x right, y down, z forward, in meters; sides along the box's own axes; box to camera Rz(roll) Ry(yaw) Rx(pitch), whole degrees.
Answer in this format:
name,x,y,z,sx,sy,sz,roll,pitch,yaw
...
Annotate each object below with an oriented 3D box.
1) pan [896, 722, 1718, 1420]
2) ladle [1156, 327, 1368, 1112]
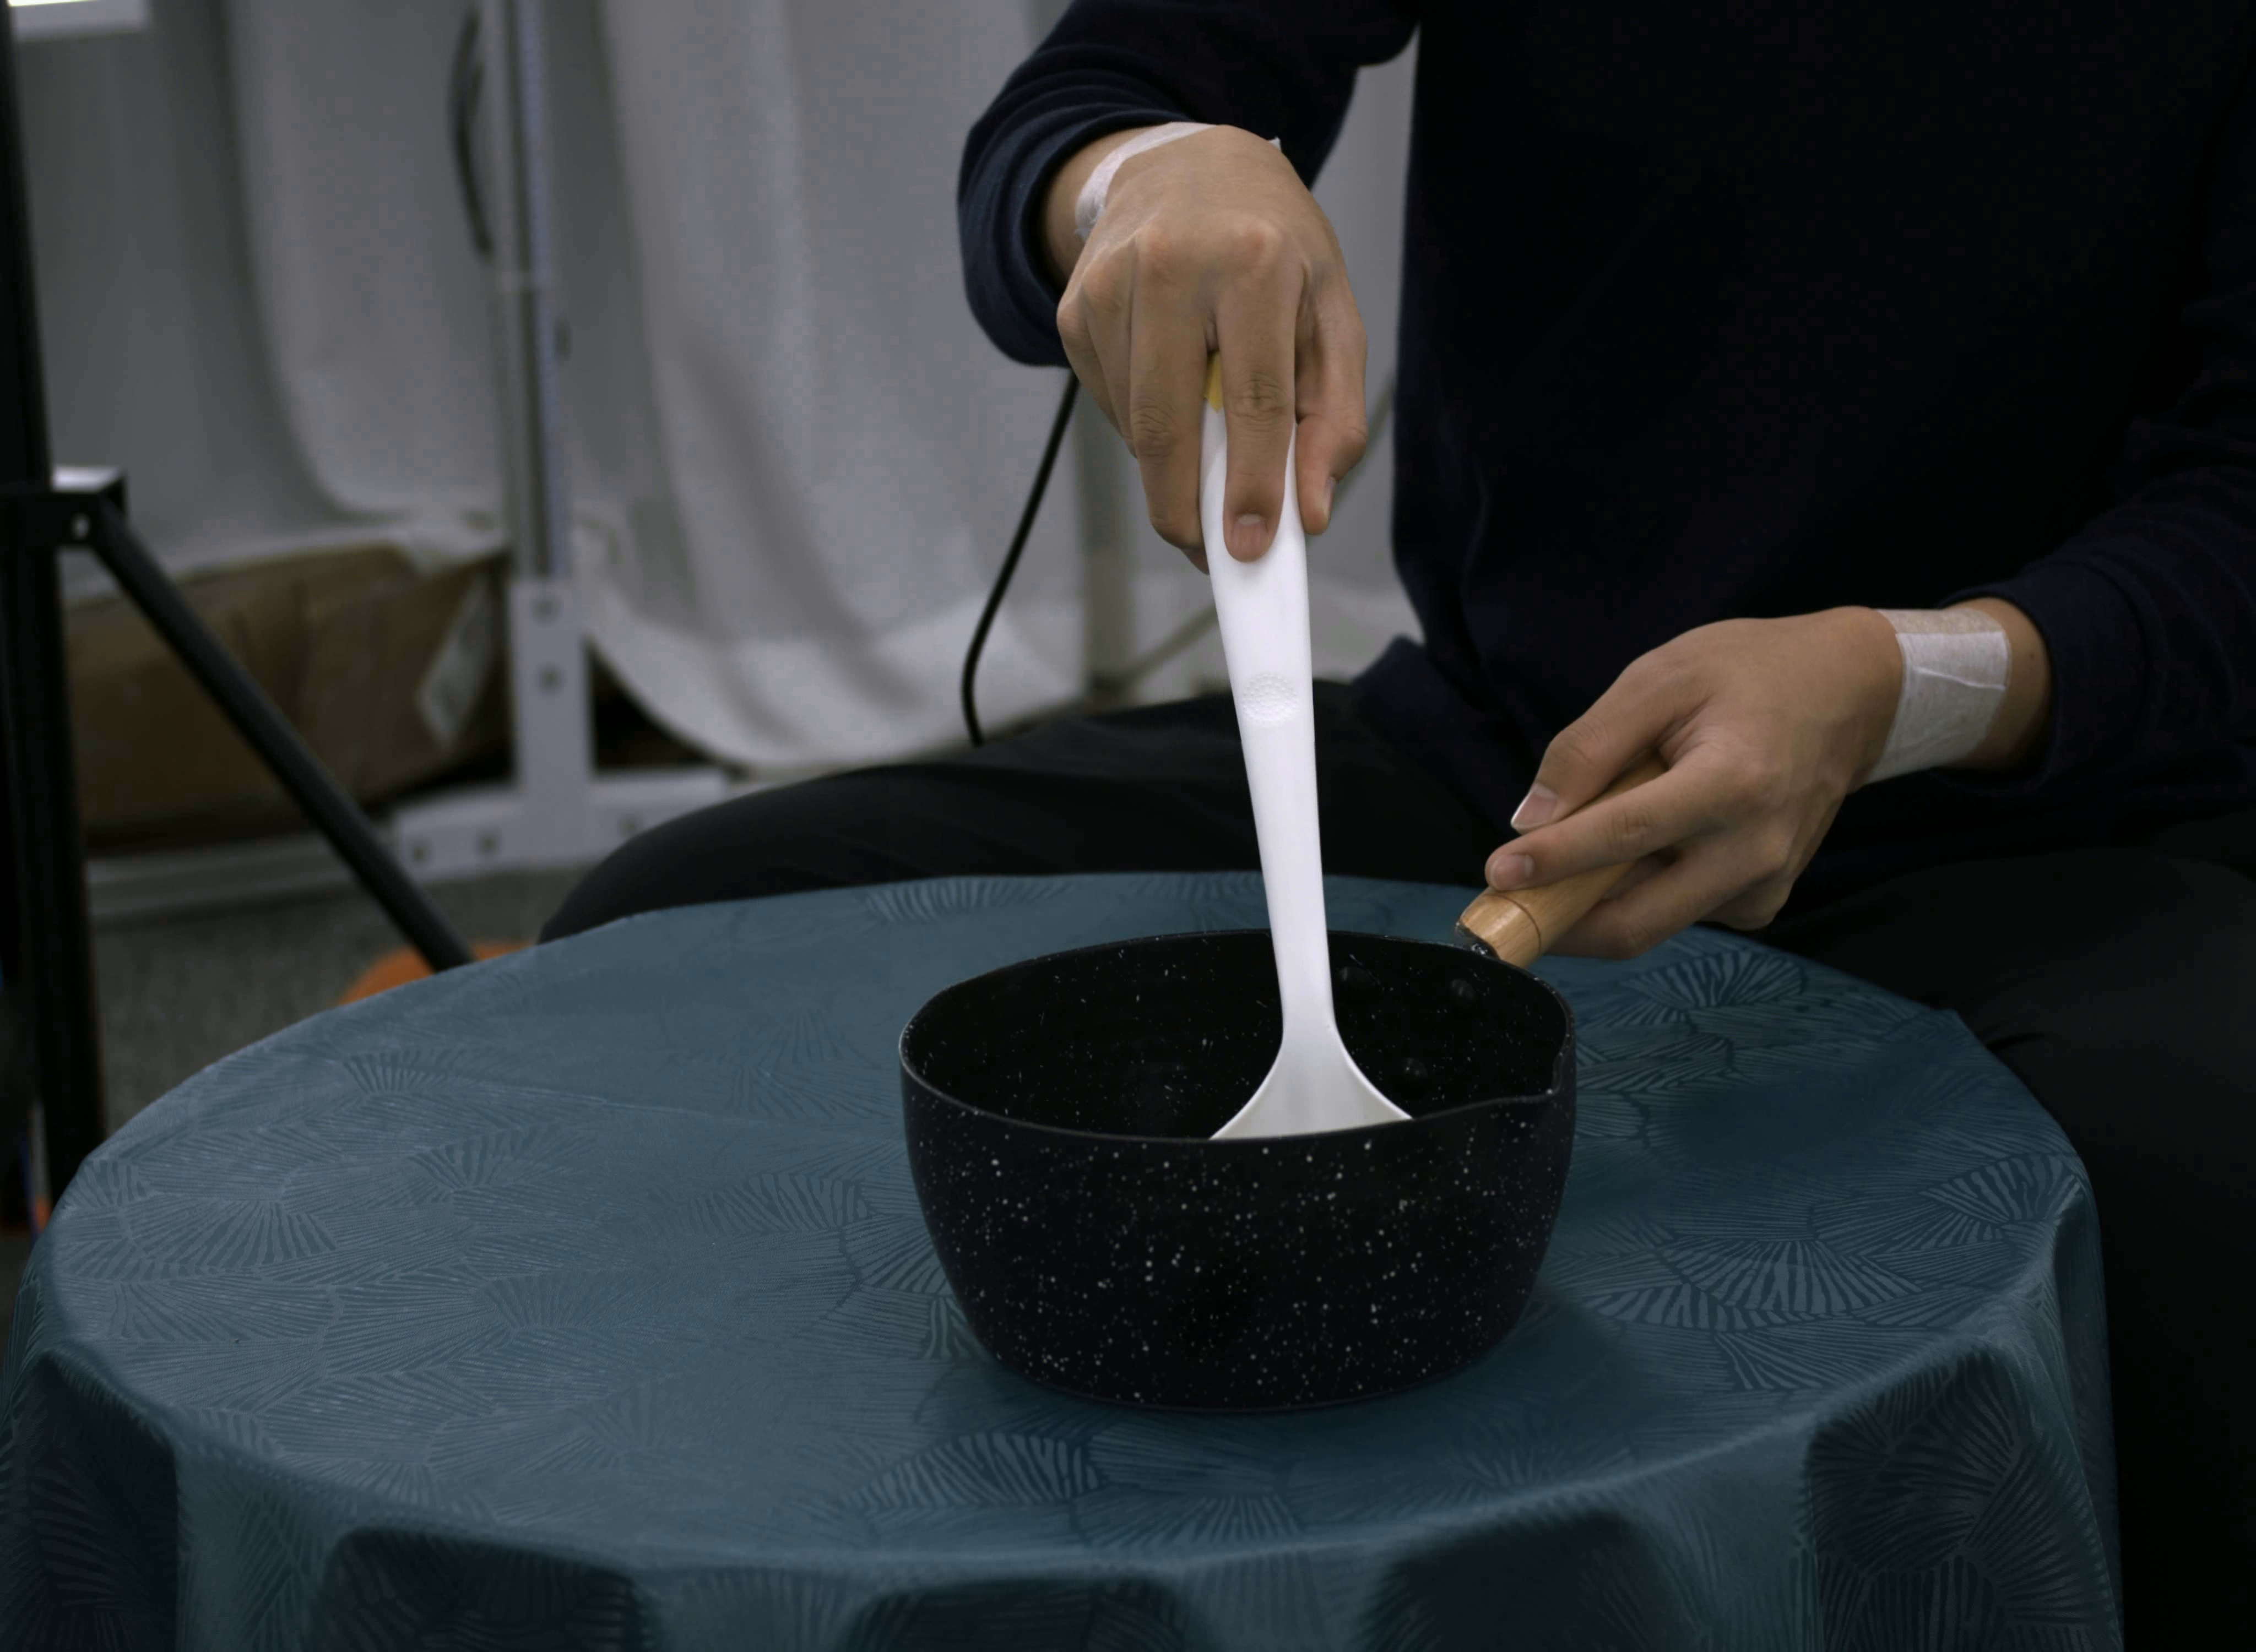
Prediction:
name,x,y,z,sx,sy,sz,roll,pitch,yaw
pan,0.075,0.064,1.503,0.211,0.108,0.336,7,20,34
ladle,0.030,-0.003,1.485,0.091,0.296,0.068,-13,-17,24
